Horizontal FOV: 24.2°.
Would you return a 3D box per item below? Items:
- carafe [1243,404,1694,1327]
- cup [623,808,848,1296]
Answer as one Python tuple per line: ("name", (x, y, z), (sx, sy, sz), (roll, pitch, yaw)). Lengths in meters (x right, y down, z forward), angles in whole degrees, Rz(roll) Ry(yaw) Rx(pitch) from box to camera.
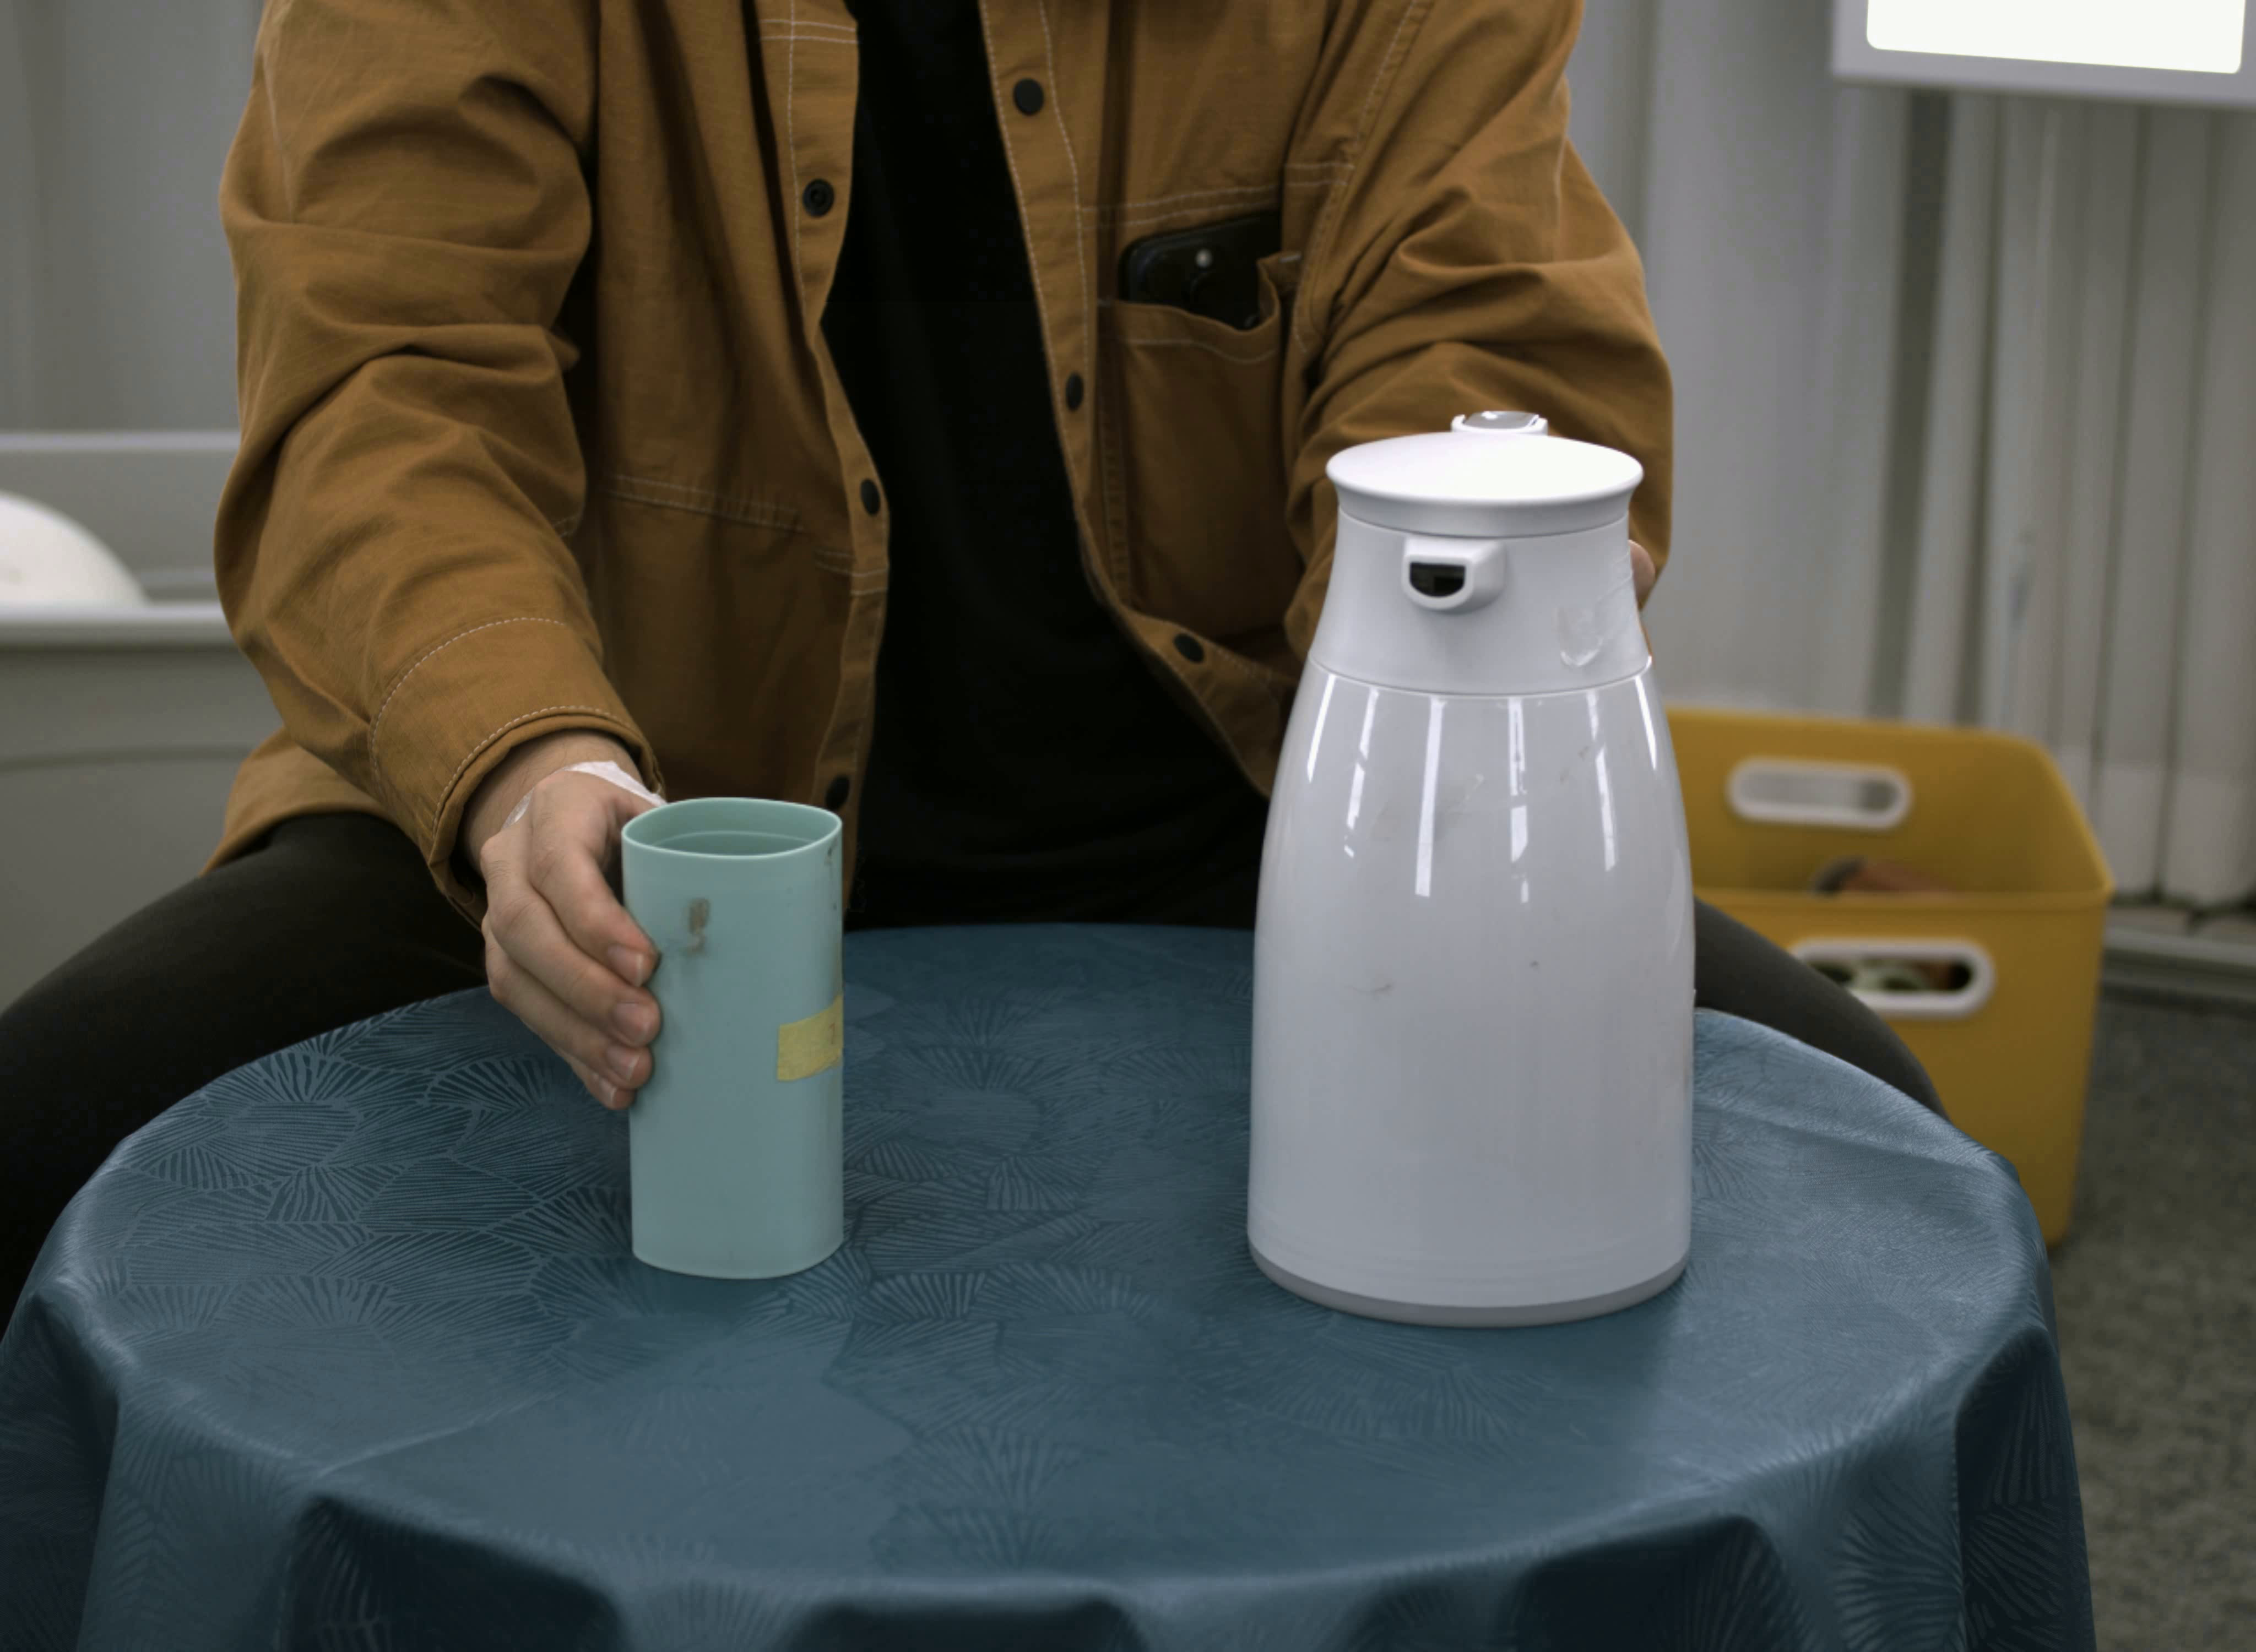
("carafe", (0.105, 0.003, 1.556), (0.131, 0.250, 0.167), (4, 16, 13))
("cup", (-0.116, 0.066, 1.556), (0.066, 0.133, 0.066), (1, 16, 0))
